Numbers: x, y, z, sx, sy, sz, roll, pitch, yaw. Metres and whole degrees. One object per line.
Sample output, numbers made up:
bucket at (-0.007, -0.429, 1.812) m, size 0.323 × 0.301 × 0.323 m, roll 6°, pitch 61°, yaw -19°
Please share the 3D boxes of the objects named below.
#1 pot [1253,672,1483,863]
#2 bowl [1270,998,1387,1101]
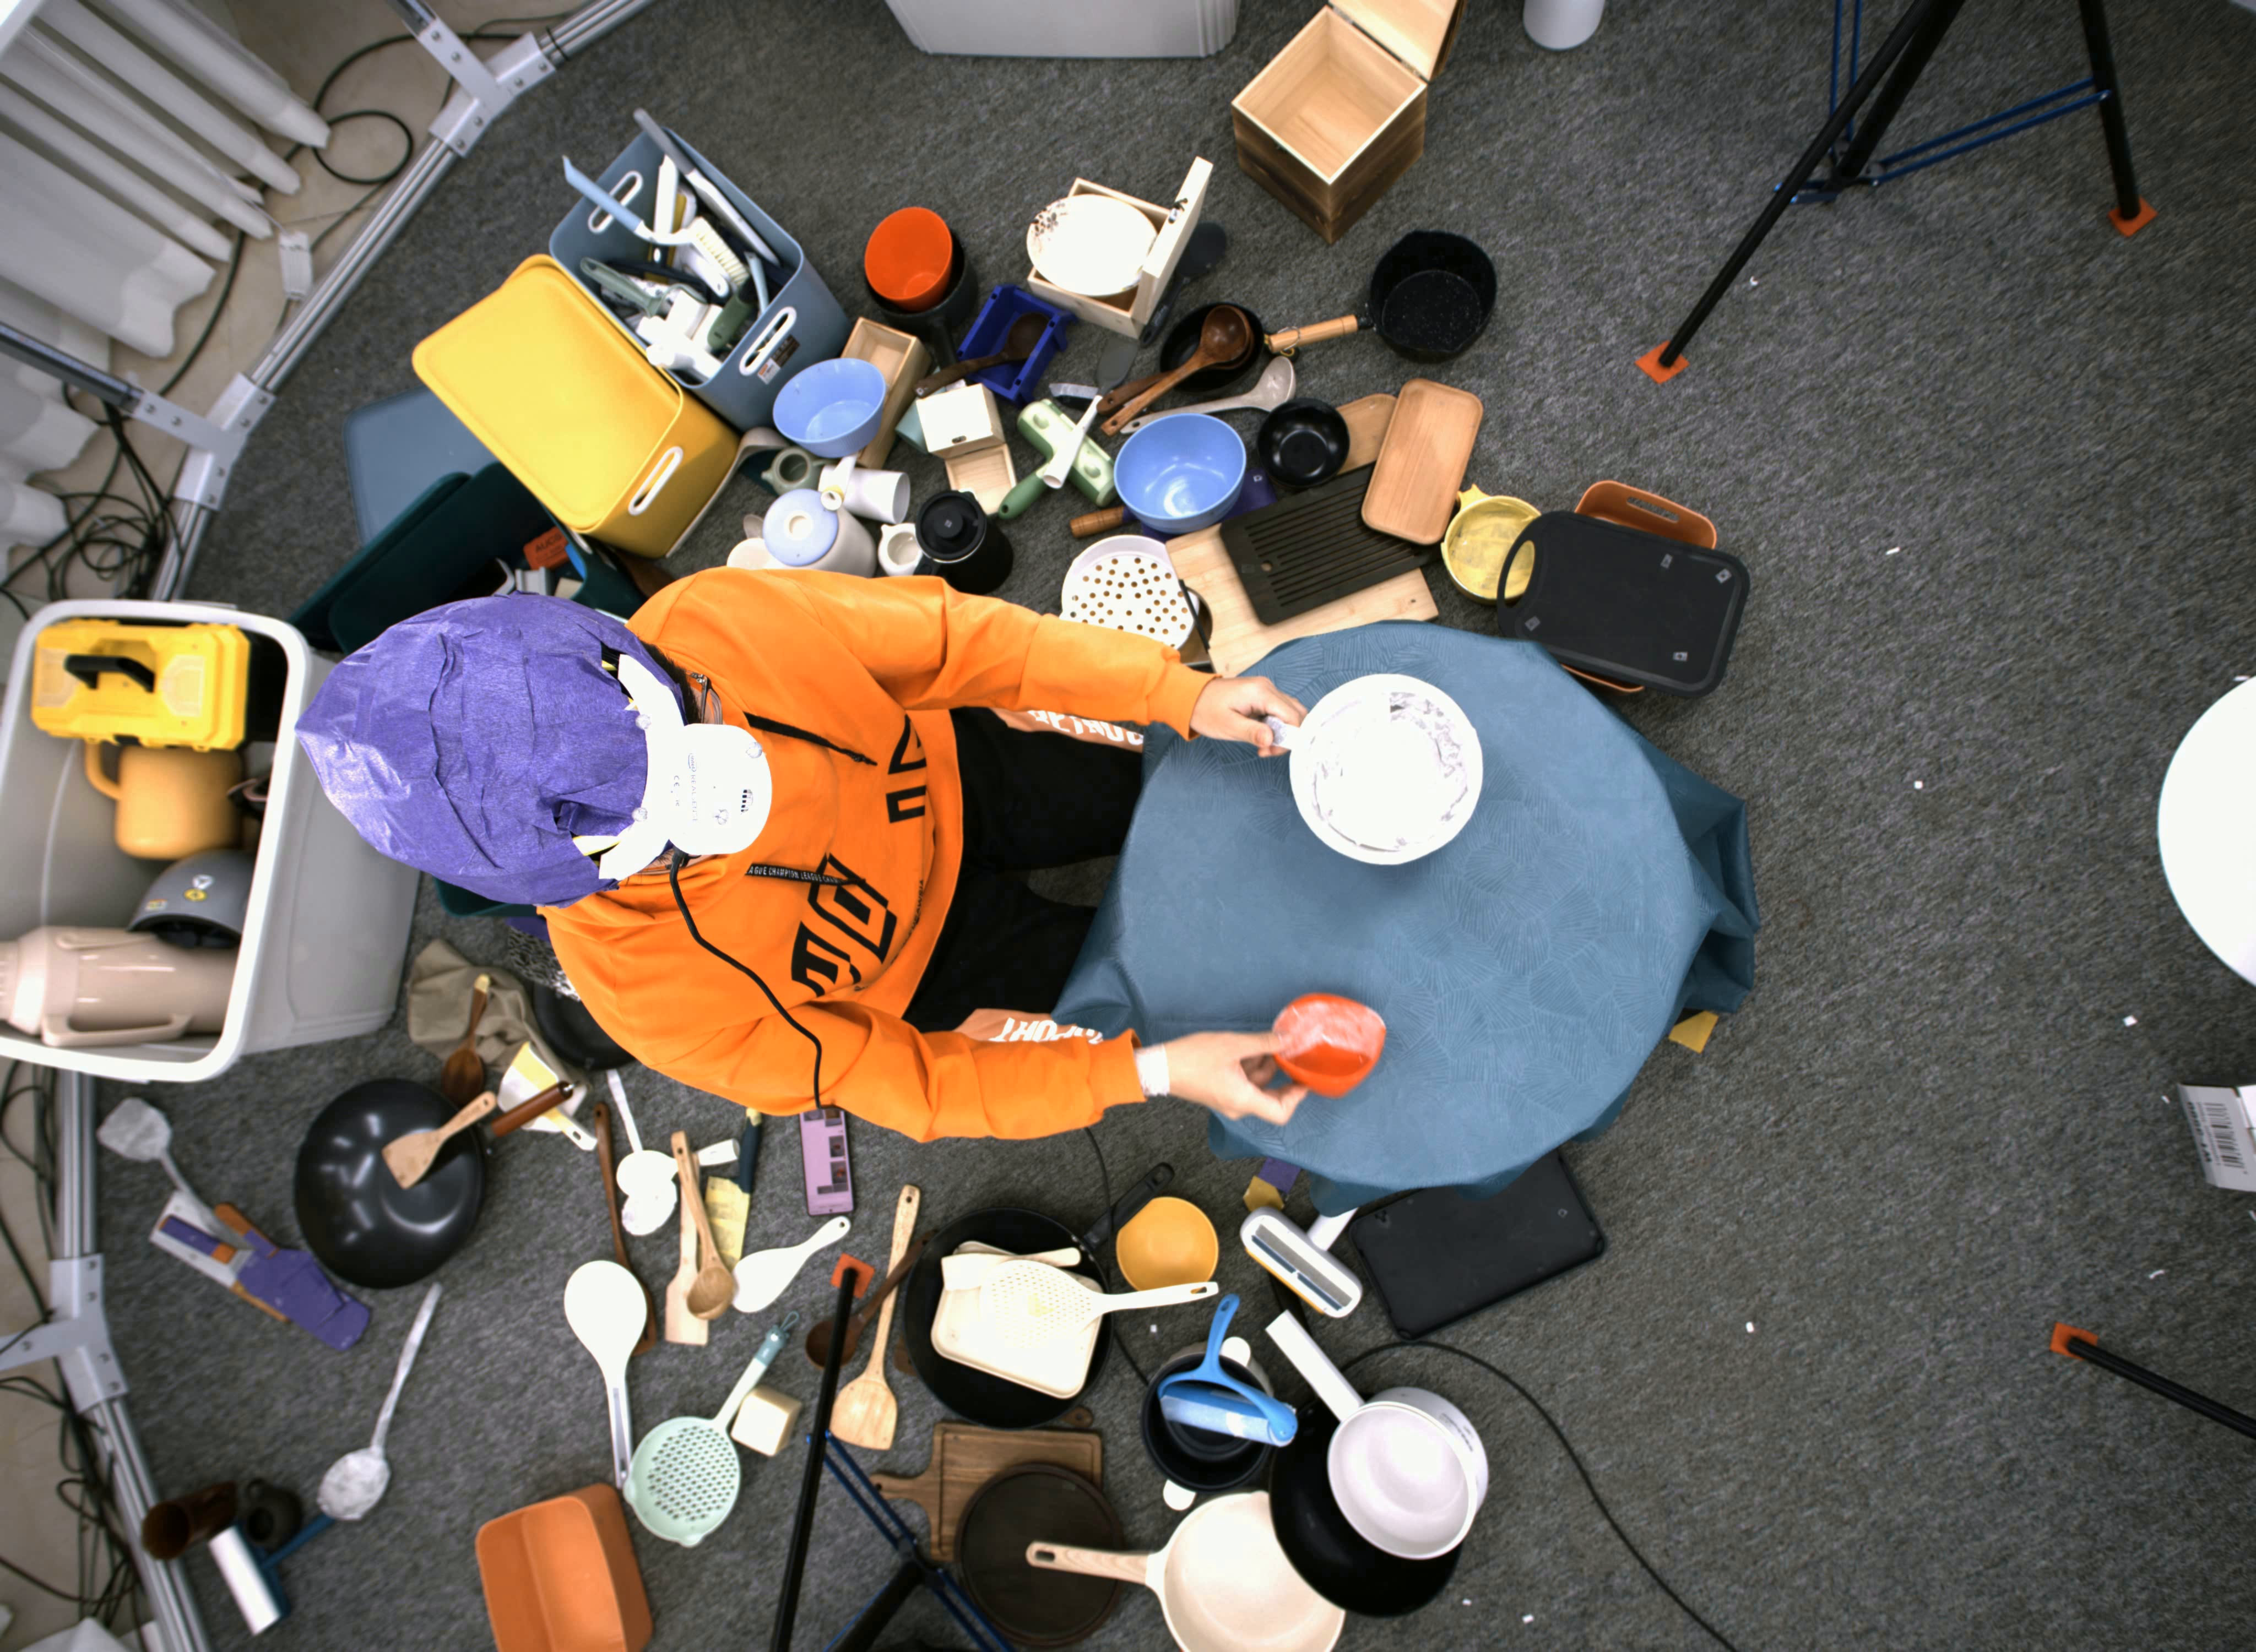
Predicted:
pot at (0.229, -0.064, 1.343) m, size 0.234 × 0.136 × 0.180 m, roll 19°, pitch 97°, yaw 14°
bowl at (0.201, 0.231, 1.392) m, size 0.119 × 0.116 × 0.052 m, roll -4°, pitch 130°, yaw 3°
